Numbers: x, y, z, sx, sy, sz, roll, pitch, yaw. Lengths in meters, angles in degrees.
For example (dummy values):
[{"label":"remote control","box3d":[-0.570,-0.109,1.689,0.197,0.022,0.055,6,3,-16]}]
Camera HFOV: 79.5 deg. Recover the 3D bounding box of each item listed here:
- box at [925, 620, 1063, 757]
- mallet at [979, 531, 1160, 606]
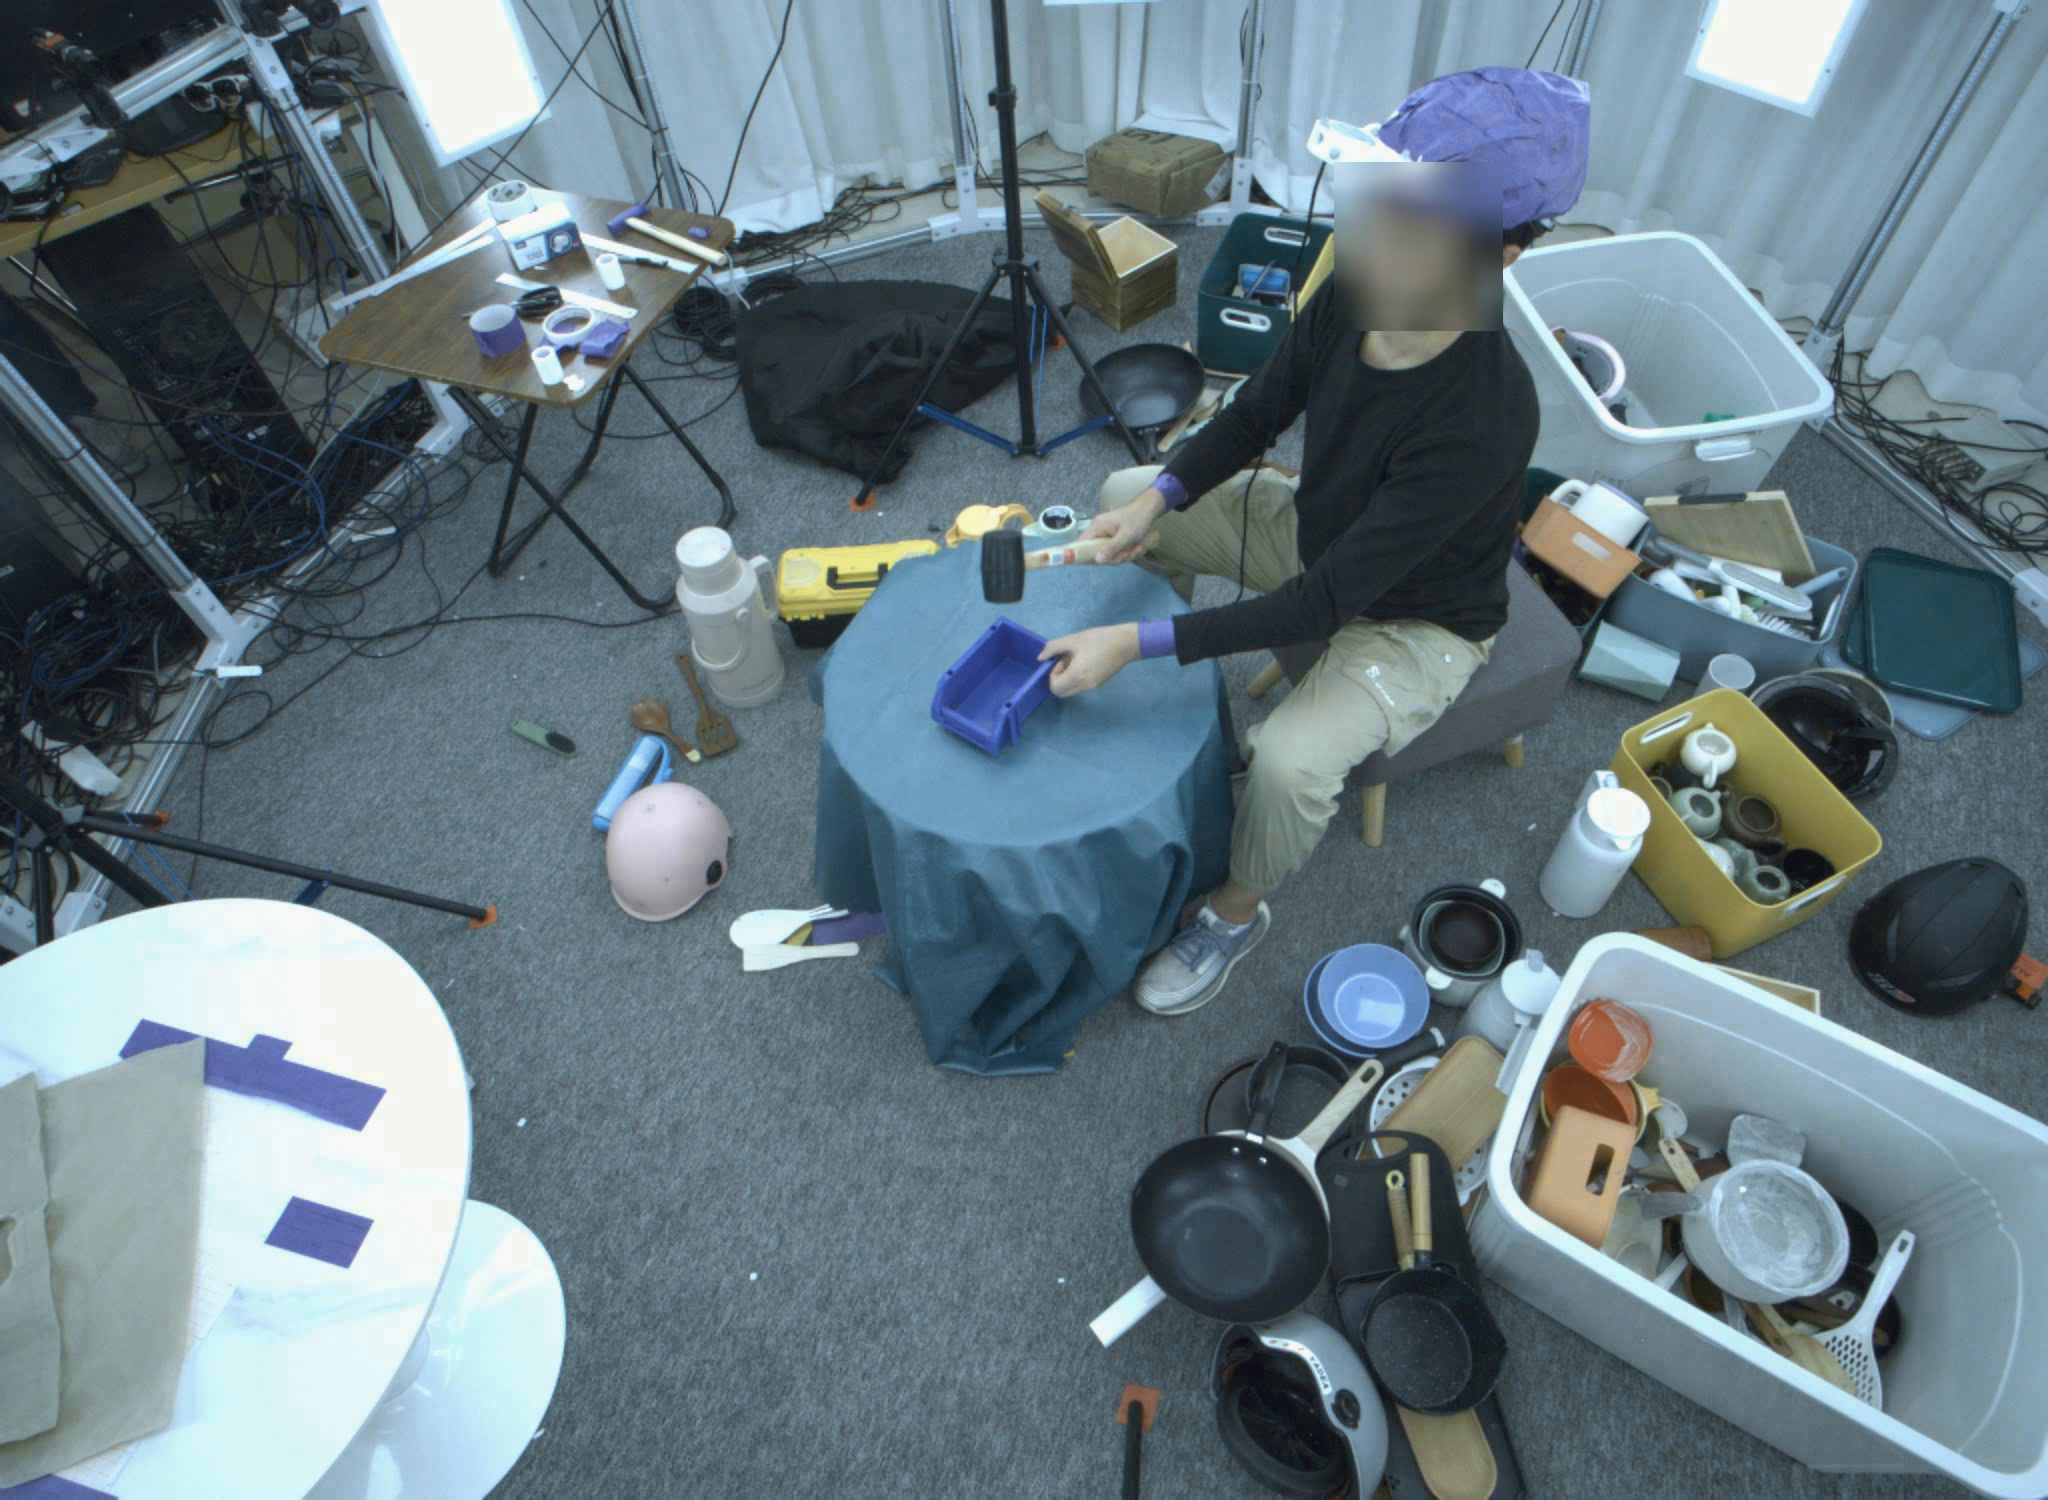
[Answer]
[{"label":"box","box3d":[-0.042,-0.085,1.795,0.122,0.083,0.180,31,58,22]},{"label":"mallet","box3d":[0.078,-0.289,1.822,0.345,0.102,0.063,-15,29,-35]}]
